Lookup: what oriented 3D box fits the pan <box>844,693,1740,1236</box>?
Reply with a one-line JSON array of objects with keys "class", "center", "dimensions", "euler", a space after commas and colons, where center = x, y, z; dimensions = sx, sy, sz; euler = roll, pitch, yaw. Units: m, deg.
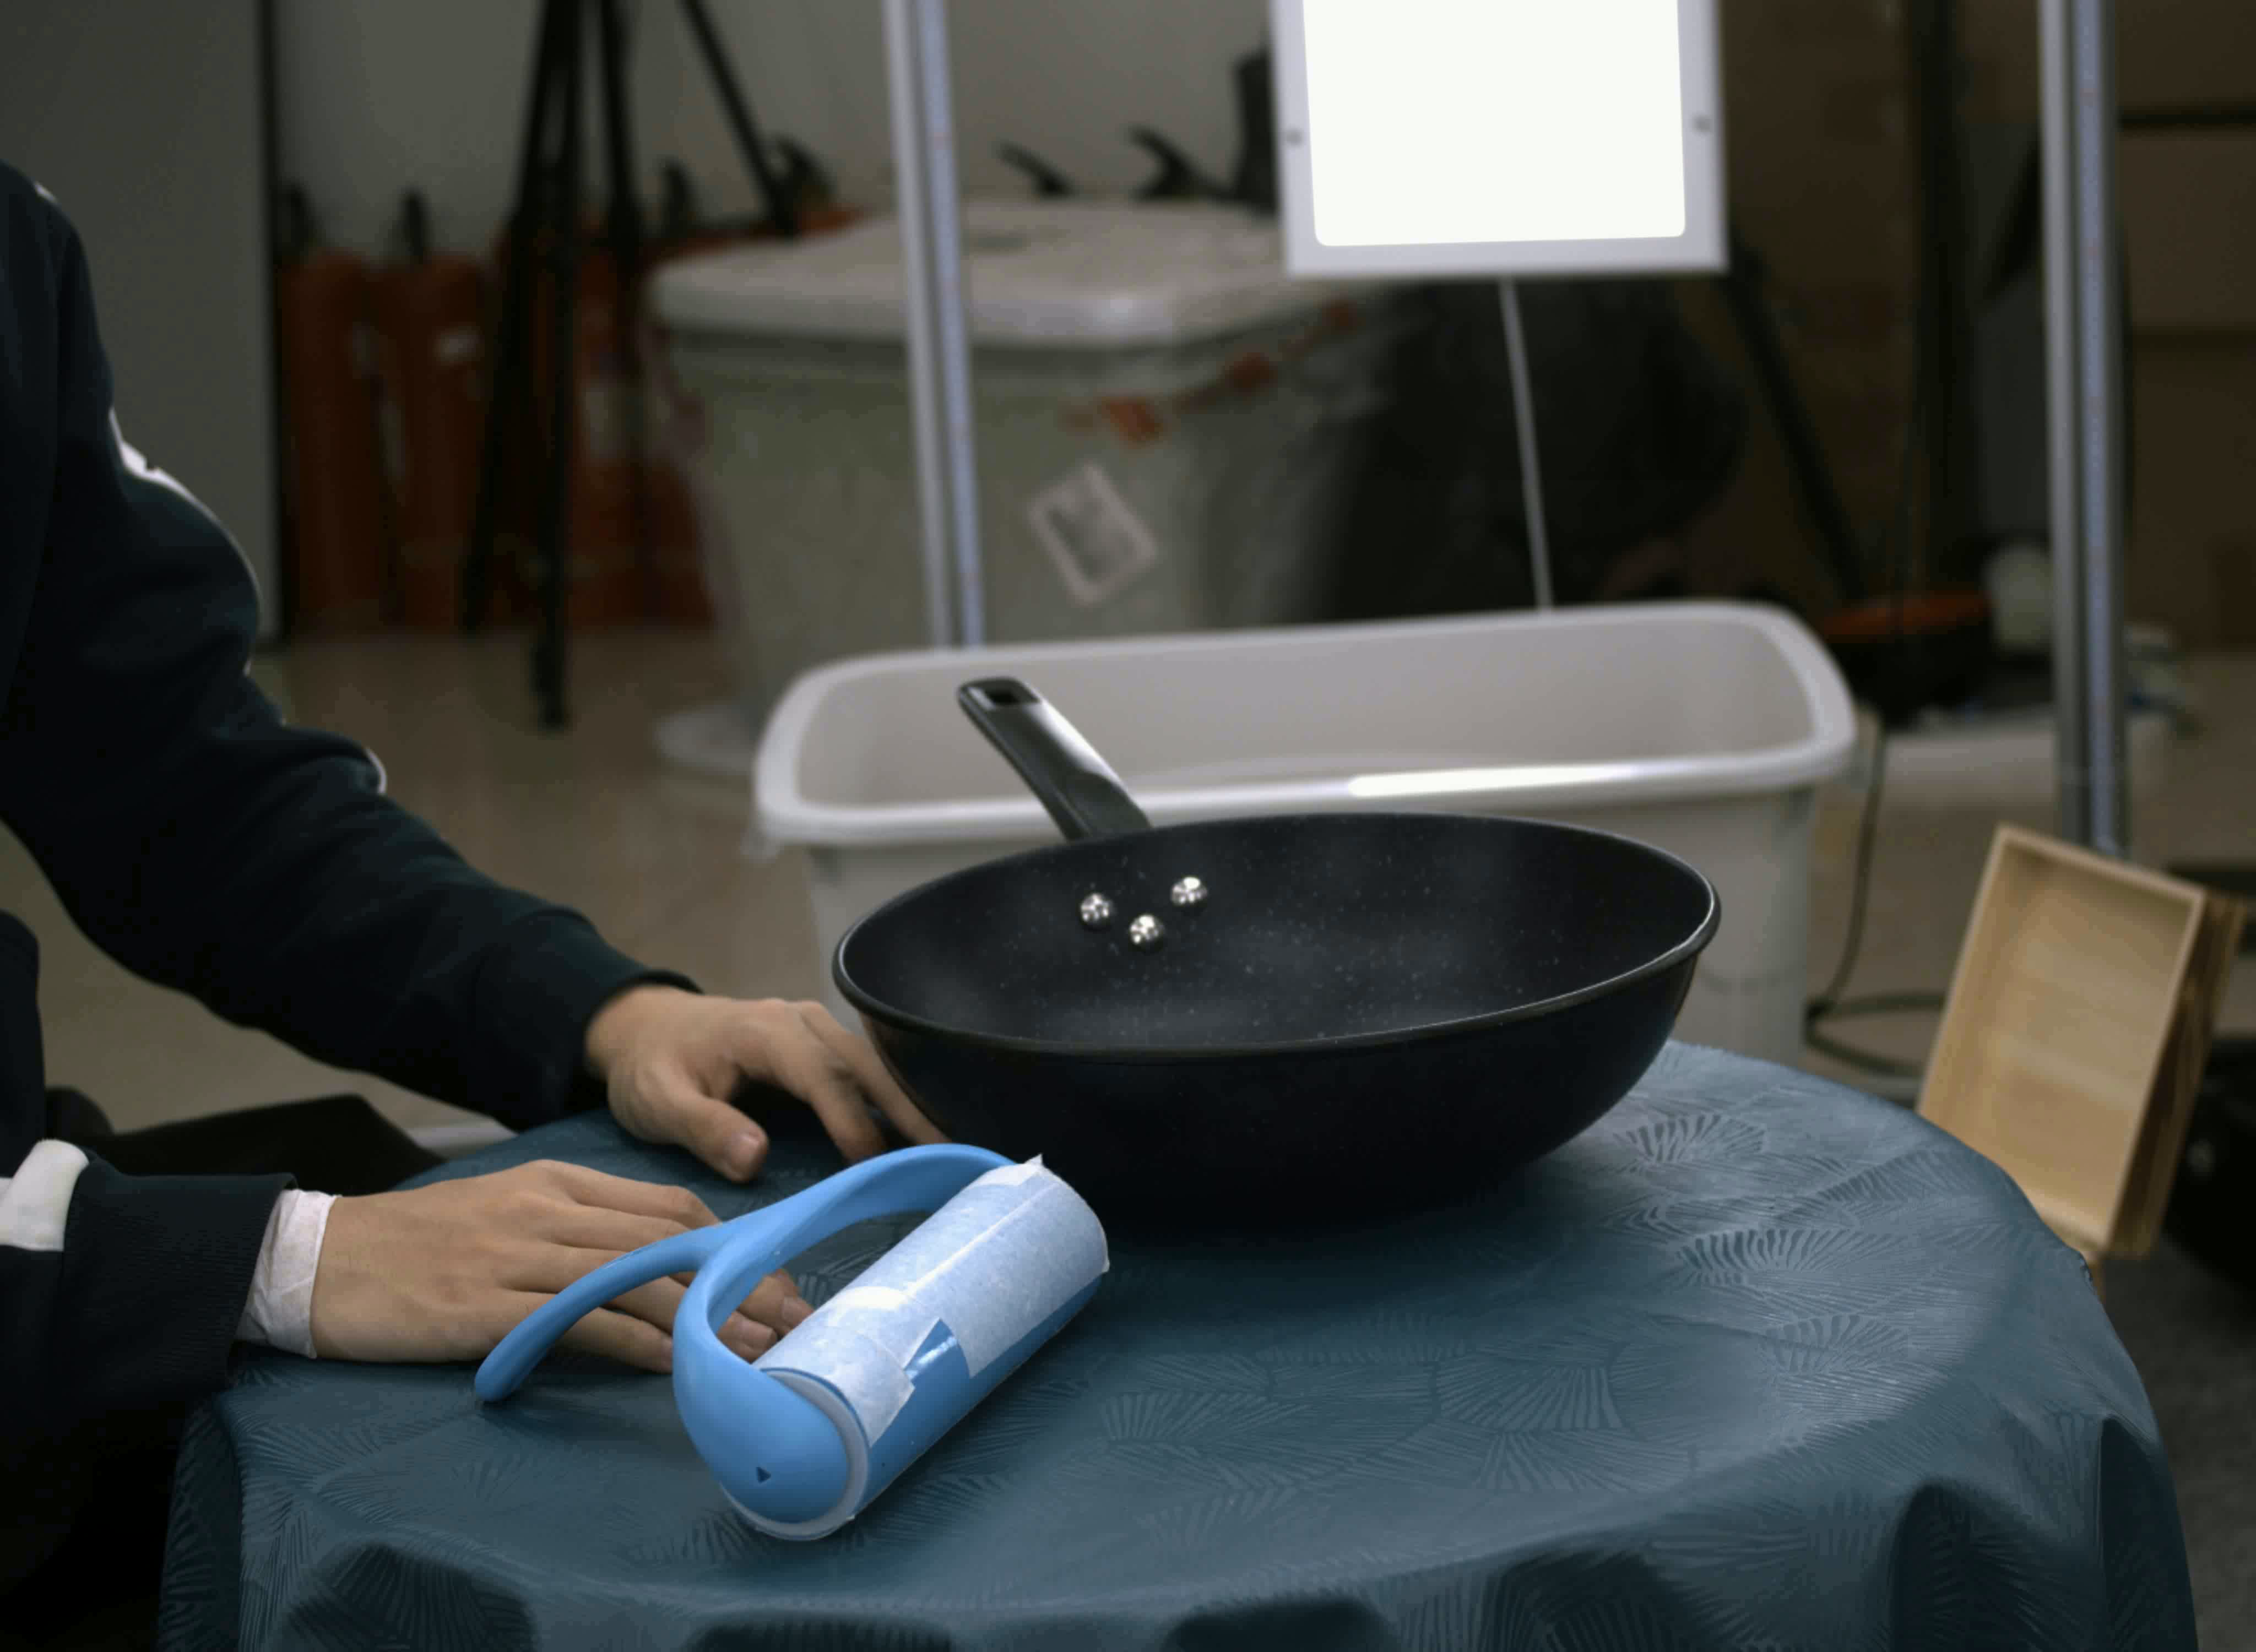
[{"class": "pan", "center": [0.029, 0.049, 1.978], "dimensions": [0.305, 0.112, 0.483], "euler": [-8, 14, -18]}]

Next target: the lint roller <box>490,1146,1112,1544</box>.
[{"class": "lint roller", "center": [-0.117, 0.157, 1.699], "dimensions": [0.182, 0.068, 0.225], "euler": [0, 16, 19]}]
